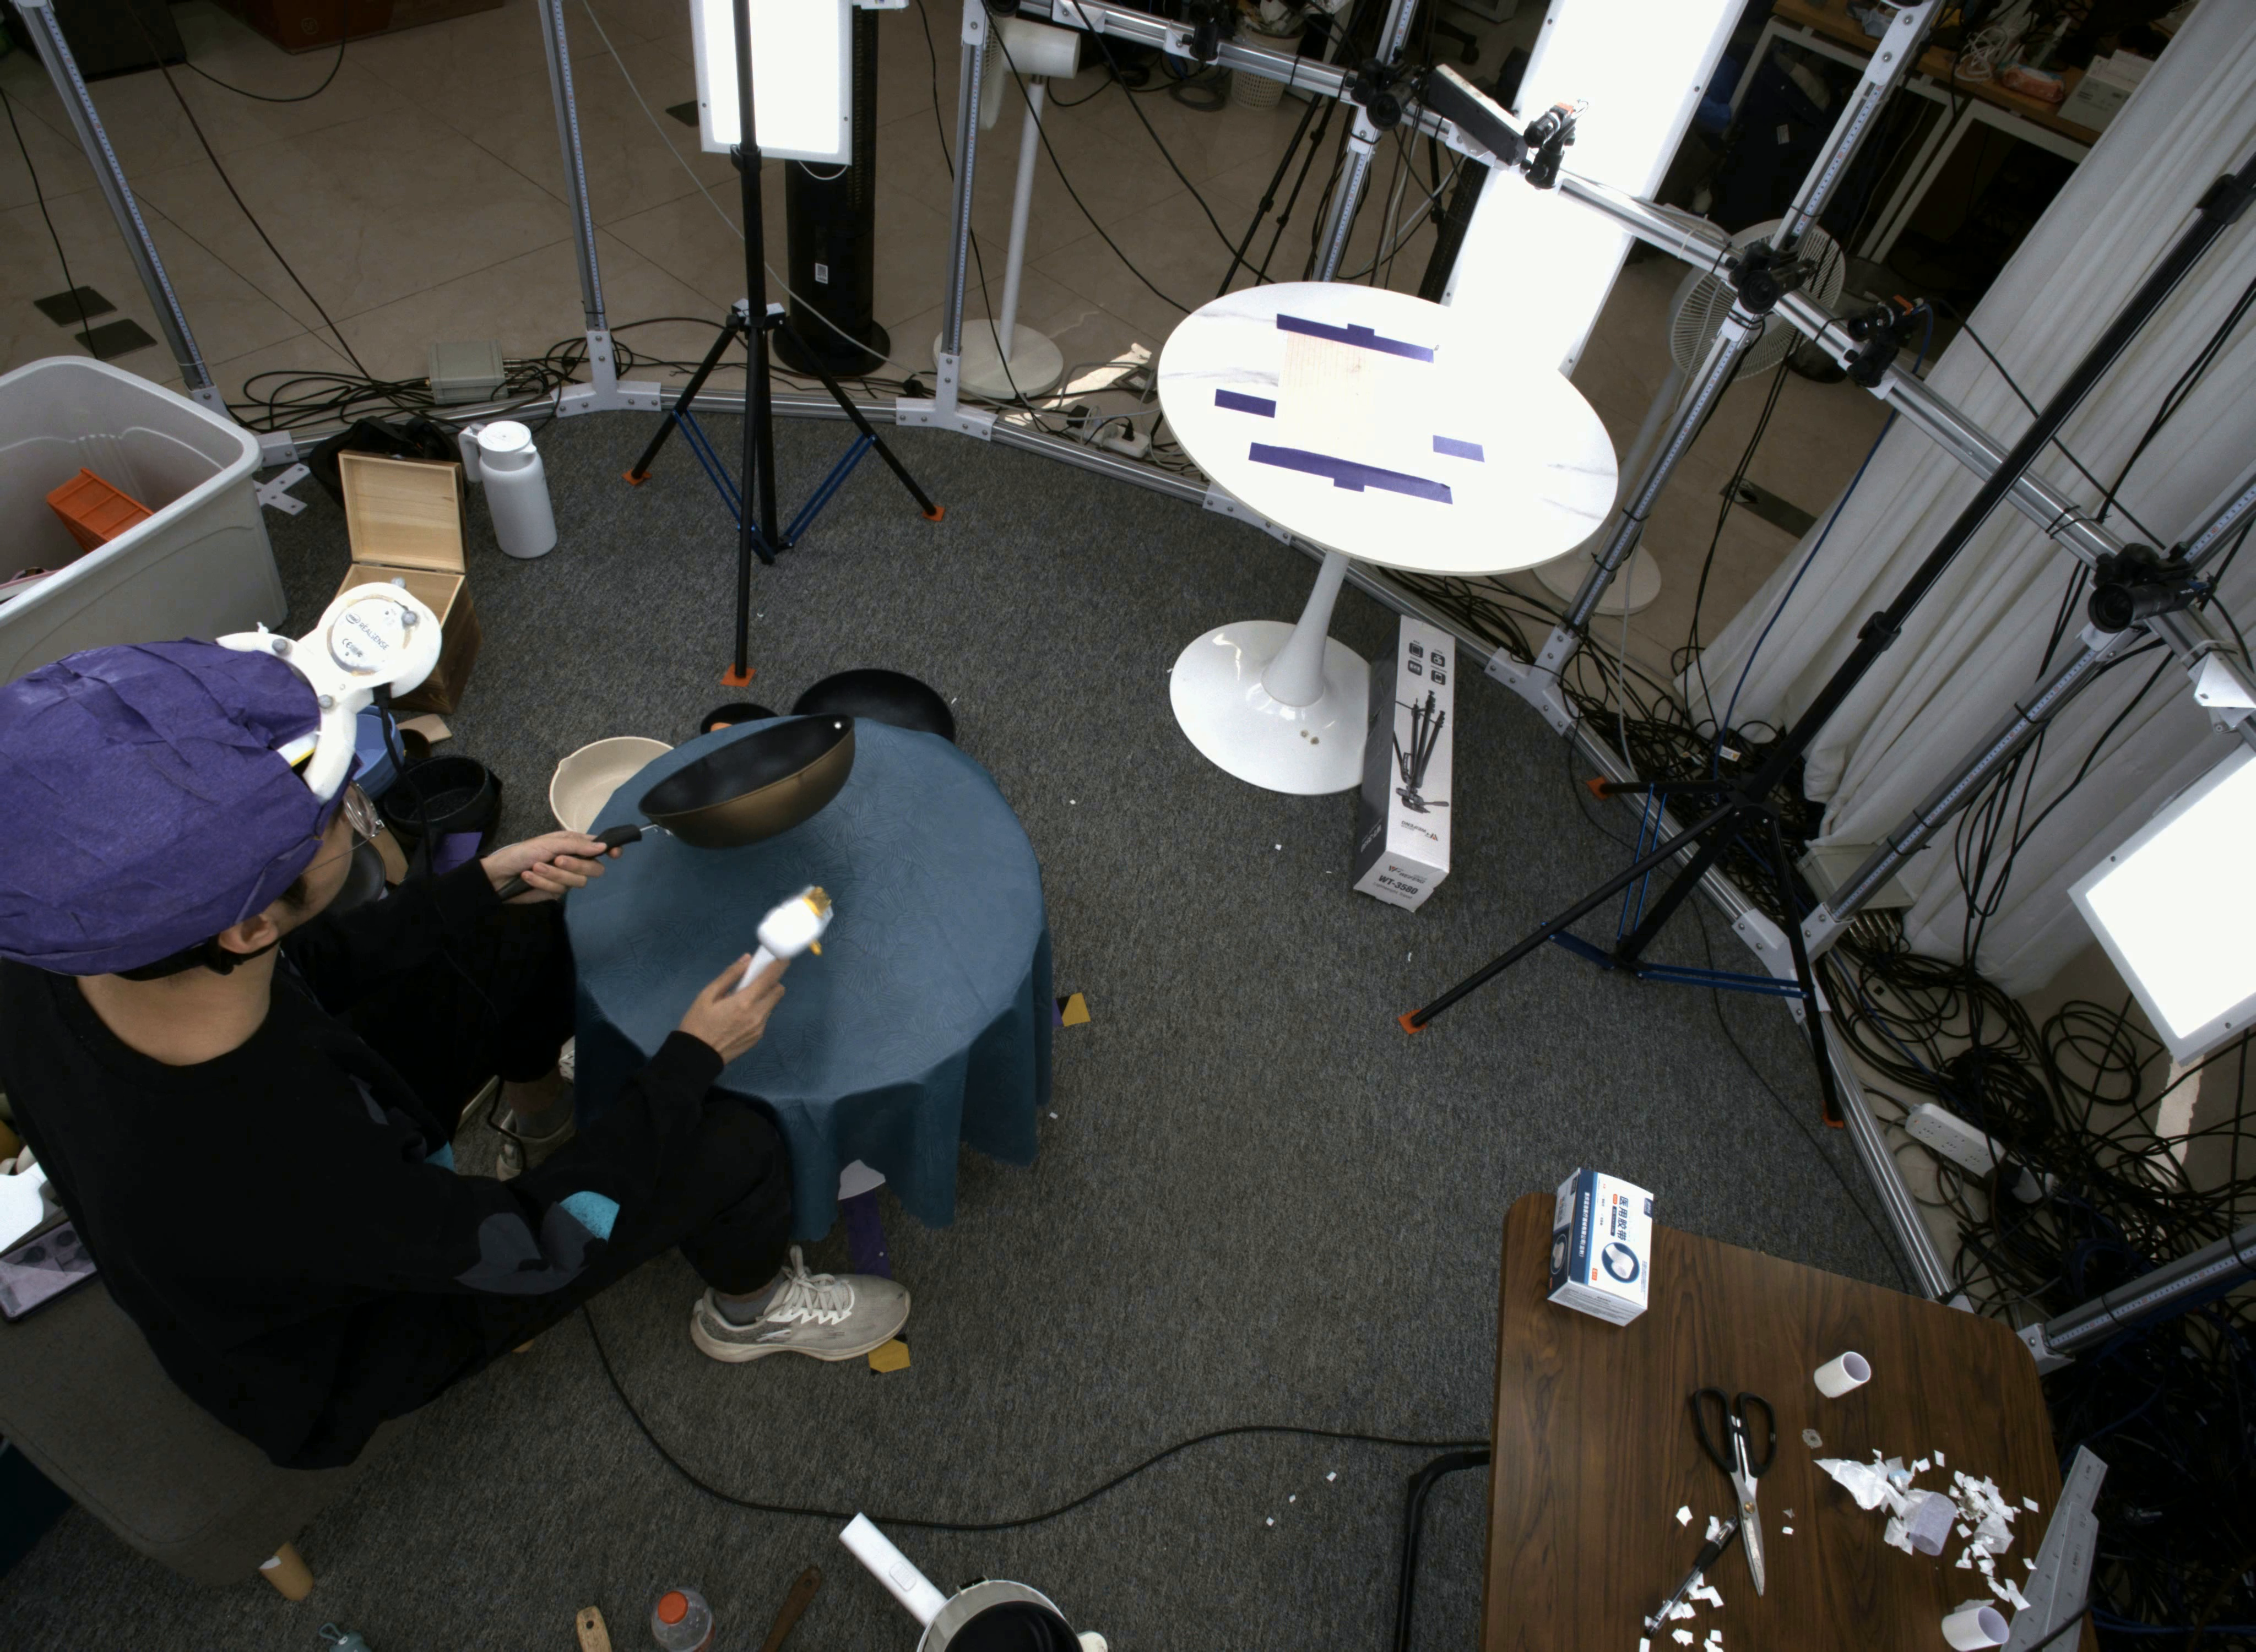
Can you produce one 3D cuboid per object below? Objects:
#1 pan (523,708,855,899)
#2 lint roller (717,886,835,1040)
[{"bbox_3d":[-0.516,-0.005,1.534,0.464,0.090,0.278,-33,25,-31],"label":"pan"},{"bbox_3d":[-0.412,0.156,1.476,0.192,0.189,0.076,-44,105,0],"label":"lint roller"}]
